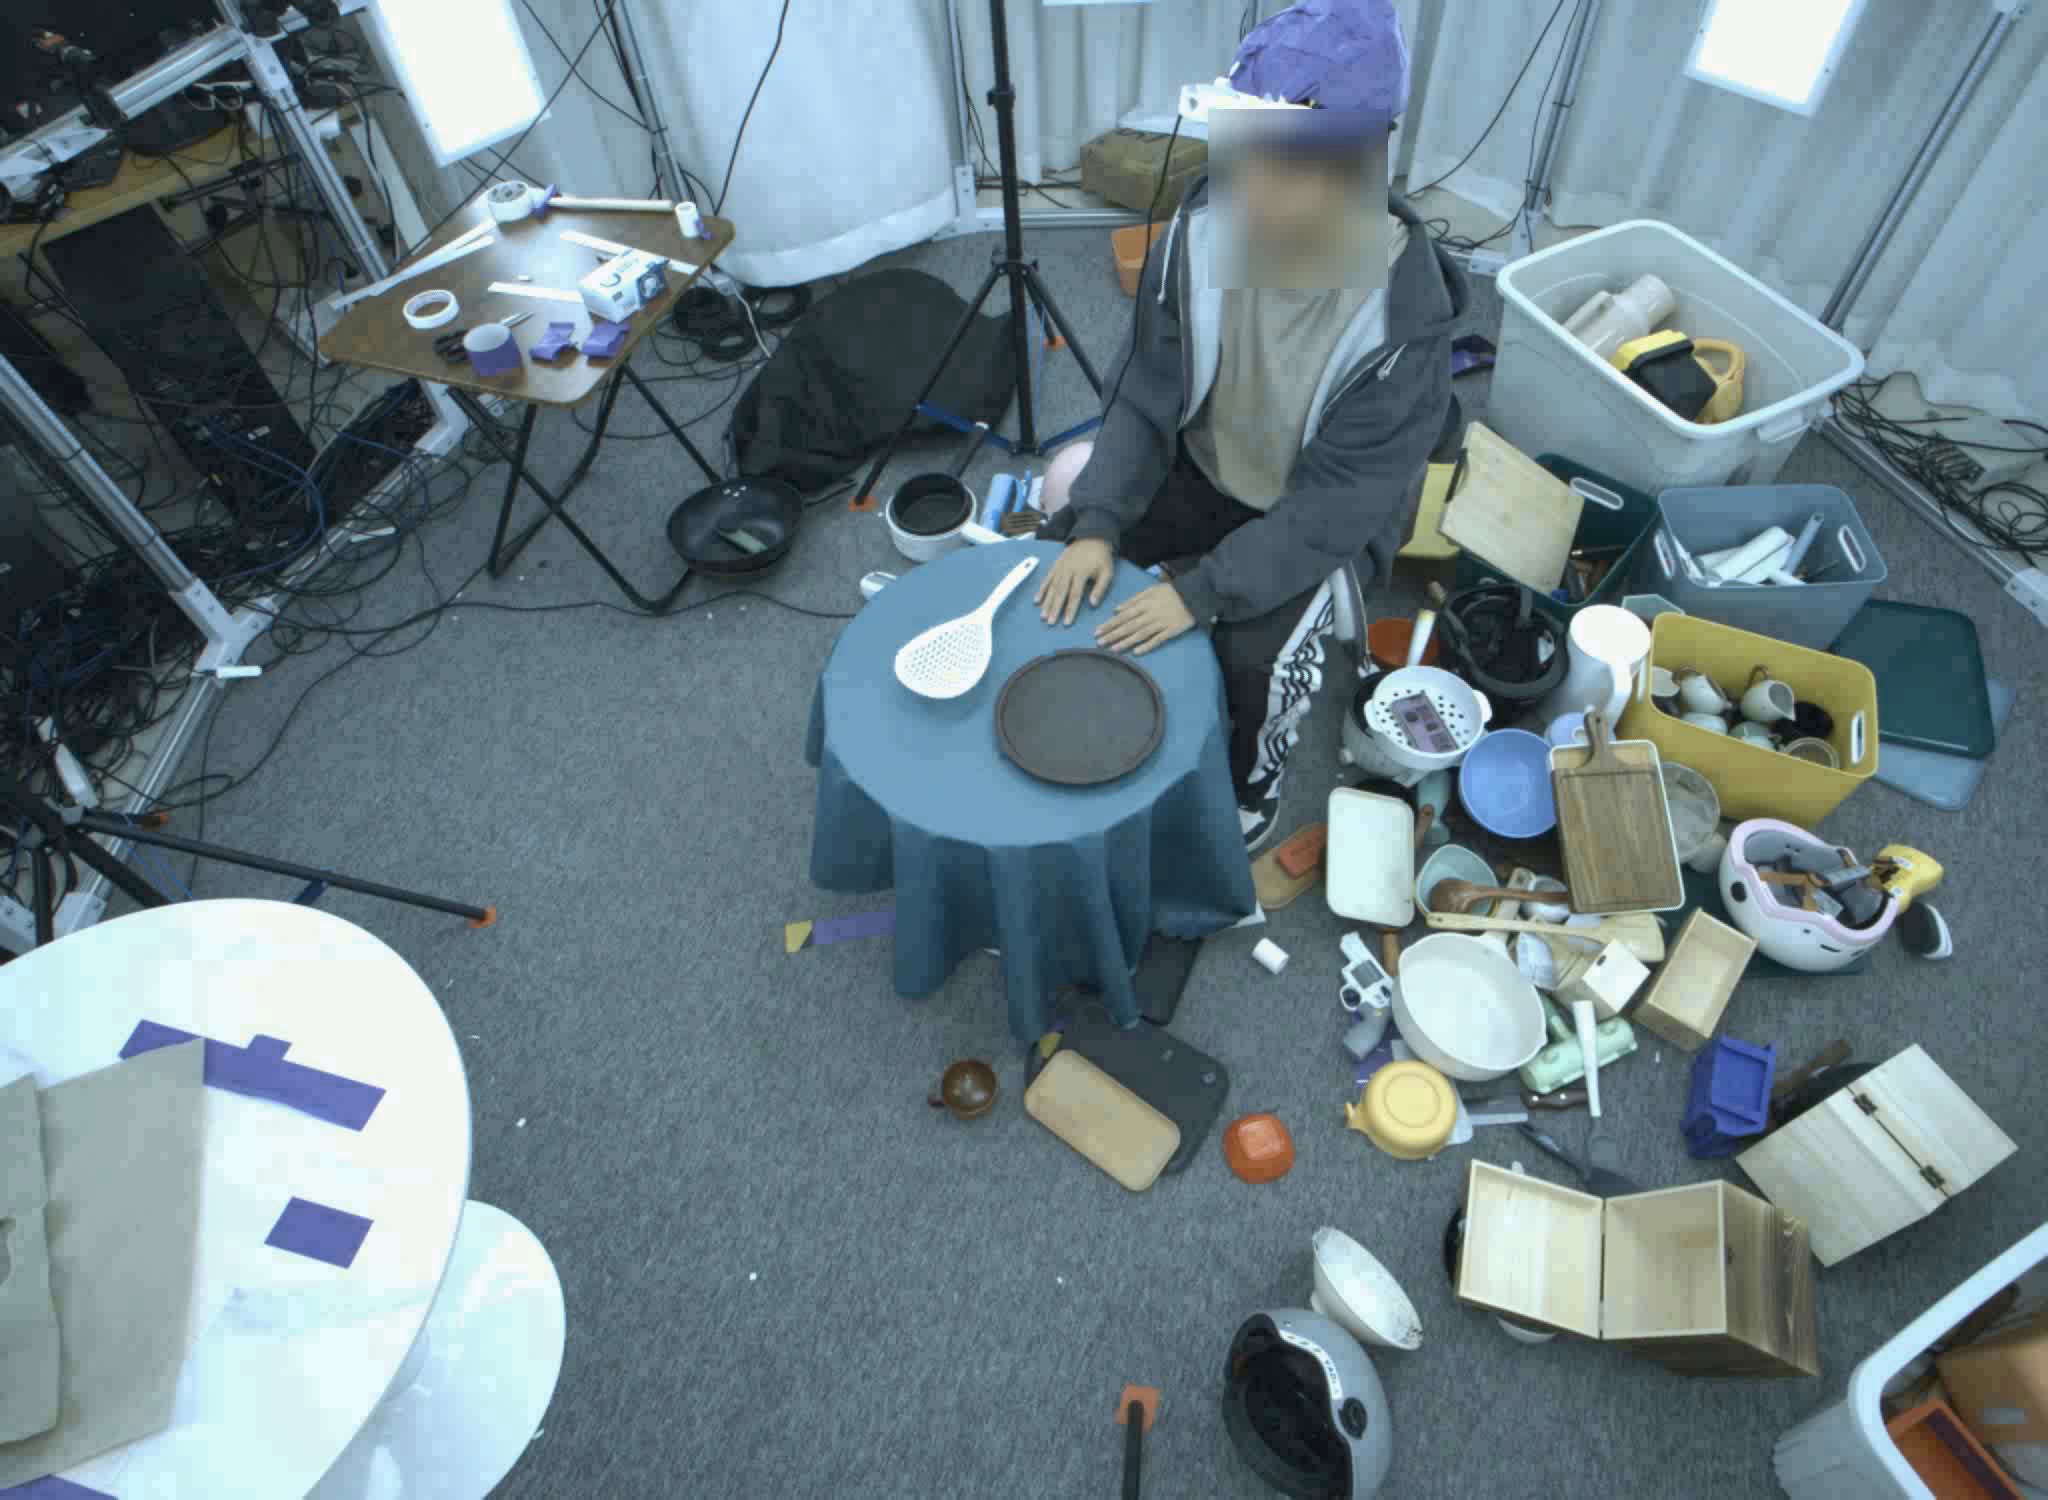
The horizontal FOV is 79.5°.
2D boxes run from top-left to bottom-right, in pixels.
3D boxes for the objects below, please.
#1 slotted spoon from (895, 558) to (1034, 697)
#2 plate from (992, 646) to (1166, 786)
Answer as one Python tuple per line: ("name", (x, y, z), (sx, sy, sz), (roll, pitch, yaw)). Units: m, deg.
("slotted spoon", (-0.069, -0.199, 1.908), (0.135, 0.051, 0.348), (22, 59, 19))
("plate", (0.080, -0.051, 1.809), (0.254, 0.029, 0.252), (-1, 54, 2))
